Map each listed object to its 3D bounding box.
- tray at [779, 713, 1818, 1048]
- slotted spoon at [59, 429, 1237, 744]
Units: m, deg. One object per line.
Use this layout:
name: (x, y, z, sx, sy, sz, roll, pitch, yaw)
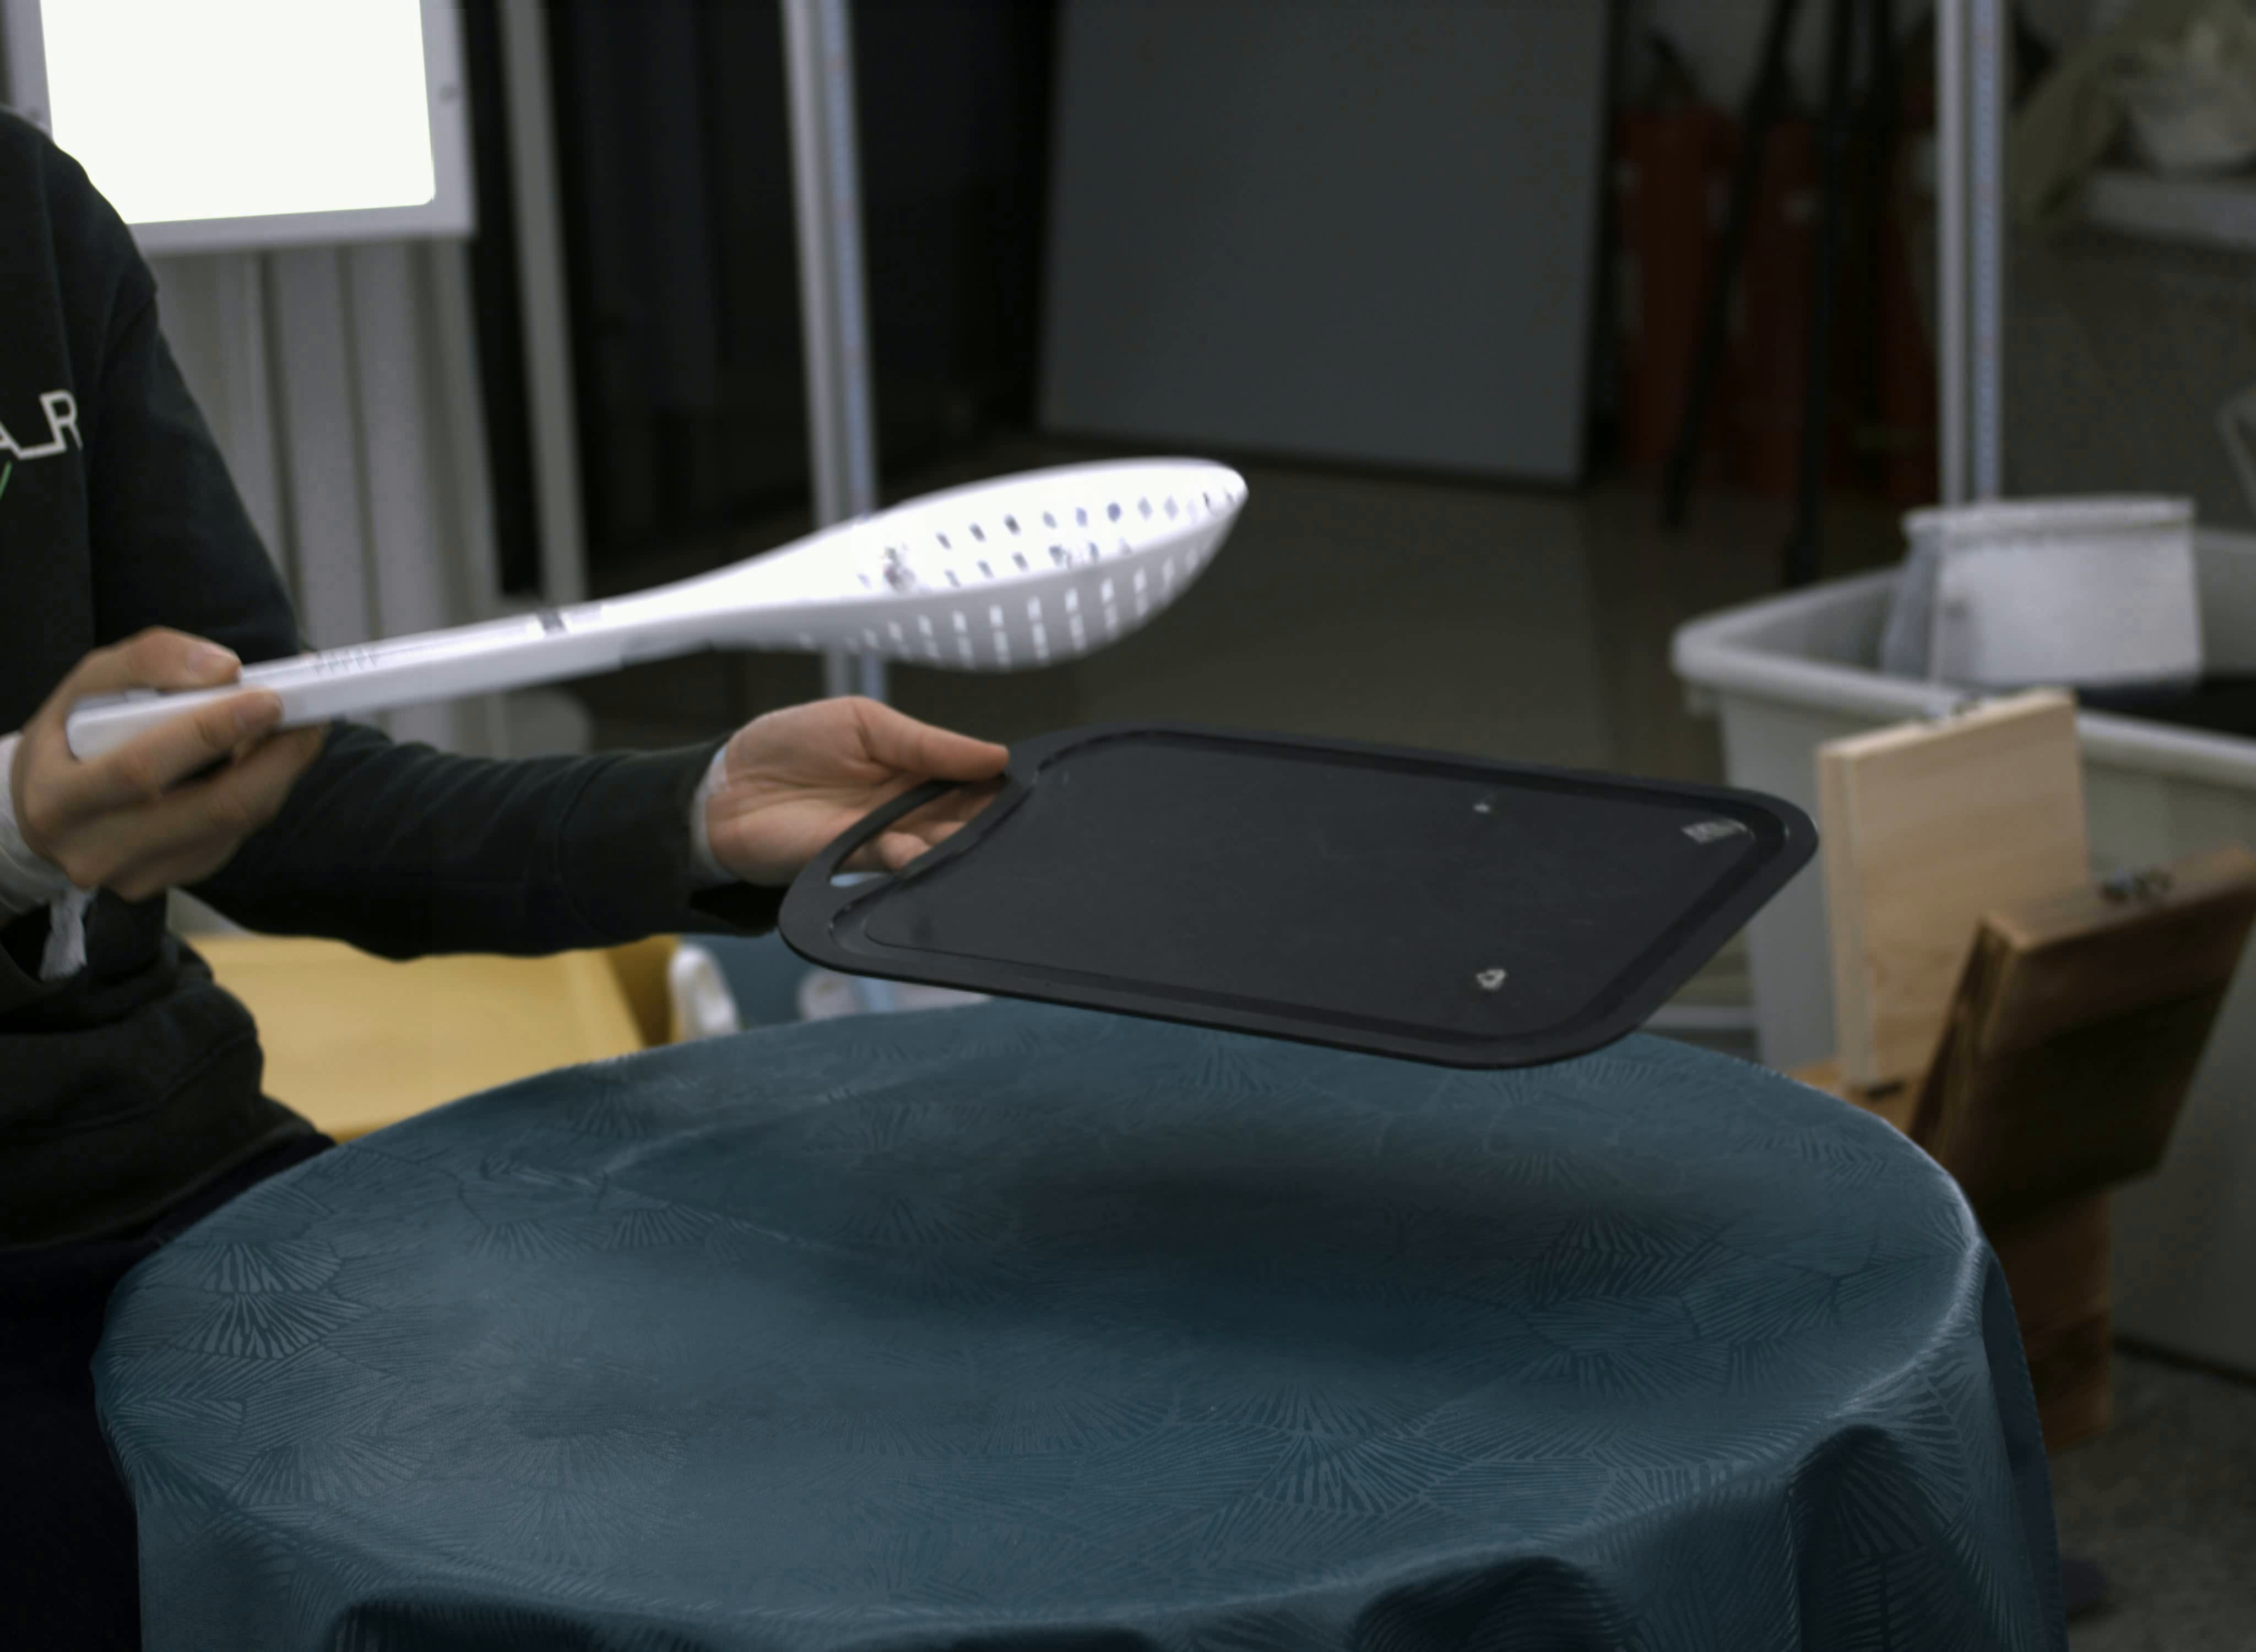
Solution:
tray: (0.046, 0.012, 1.729, 0.327, 0.010, 0.208, 7, 27, 32)
slotted spoon: (-0.137, -0.068, 1.567, 0.345, 0.046, 0.136, -8, 13, -2)
